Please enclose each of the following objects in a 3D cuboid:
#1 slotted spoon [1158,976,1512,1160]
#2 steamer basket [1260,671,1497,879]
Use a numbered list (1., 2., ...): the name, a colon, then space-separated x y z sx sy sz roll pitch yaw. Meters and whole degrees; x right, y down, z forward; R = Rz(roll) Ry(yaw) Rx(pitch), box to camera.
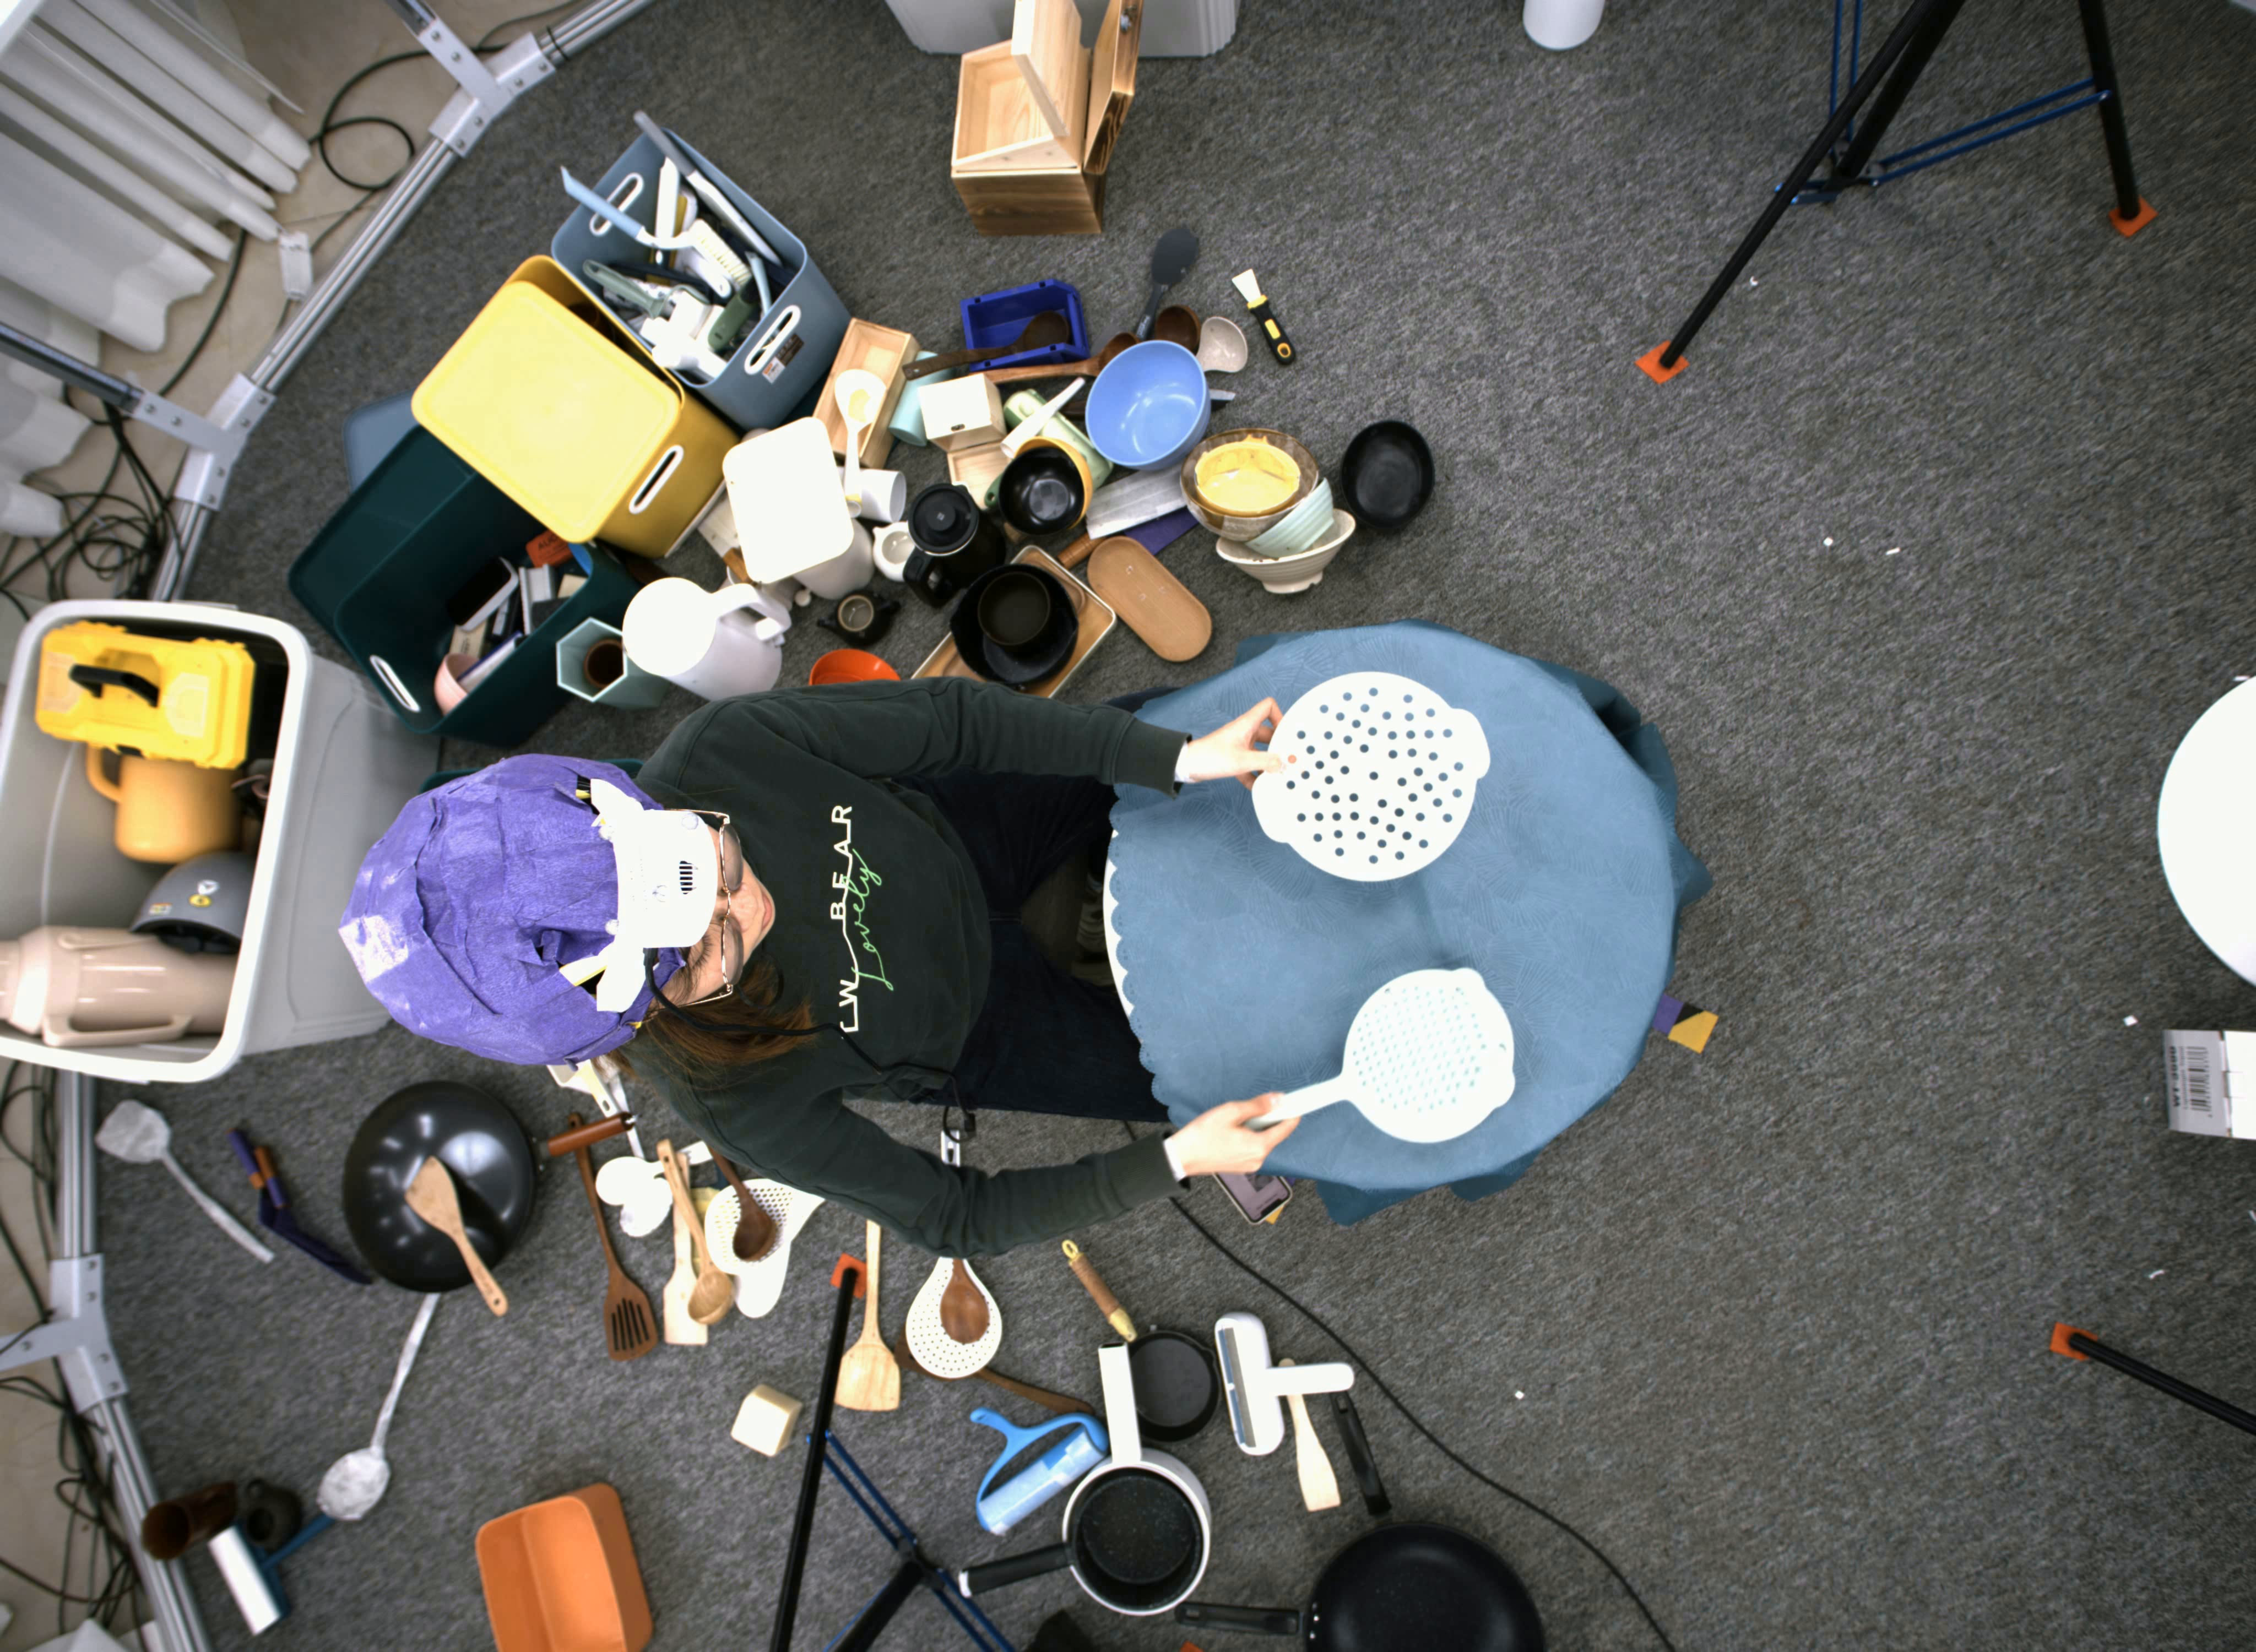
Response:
1. slotted spoon: 0.204 0.264 1.370 0.357 0.076 0.169 -18 91 -12
2. steamer basket: 0.247 -0.051 1.354 0.233 0.069 0.201 -19 89 16
